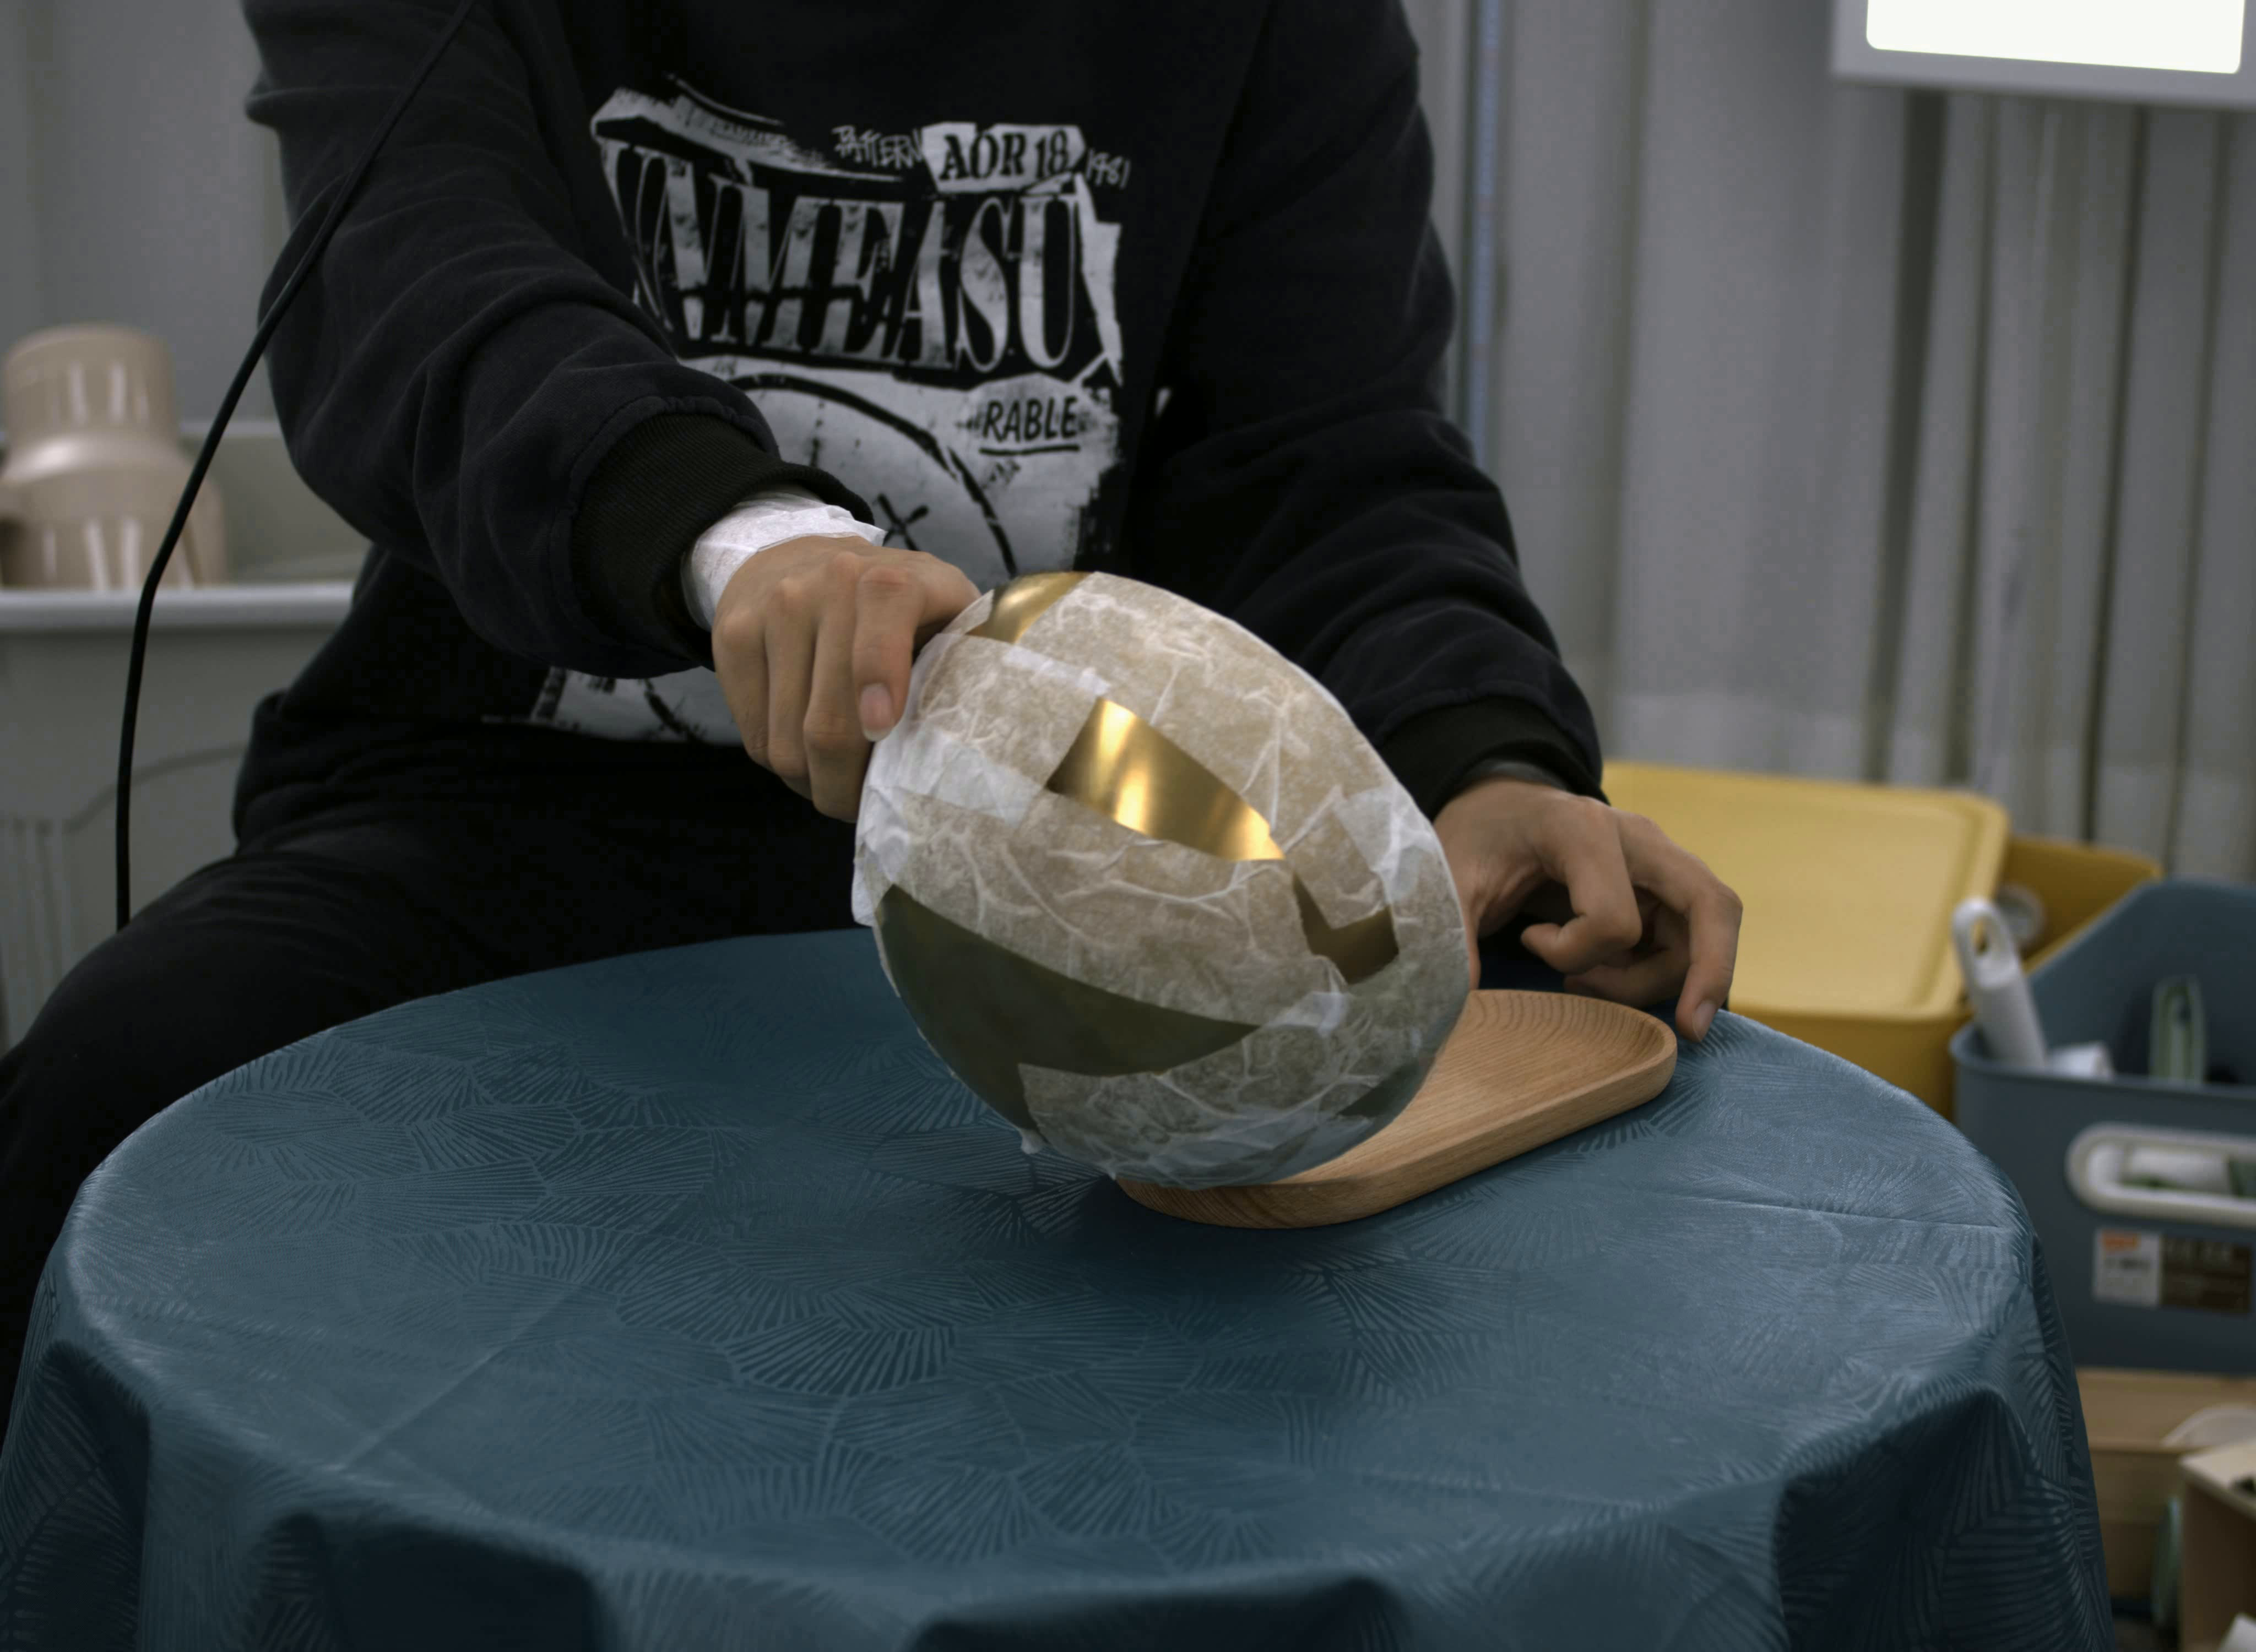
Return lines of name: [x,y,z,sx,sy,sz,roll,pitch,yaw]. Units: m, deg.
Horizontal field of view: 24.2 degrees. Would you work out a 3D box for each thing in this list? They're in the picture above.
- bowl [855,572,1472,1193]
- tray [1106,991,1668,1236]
bowl: [-0.007,0.036,1.547,0.212,0.217,0.094,14,44,36]
tray: [0.085,0.090,1.681,0.100,0.020,0.232,11,21,38]
